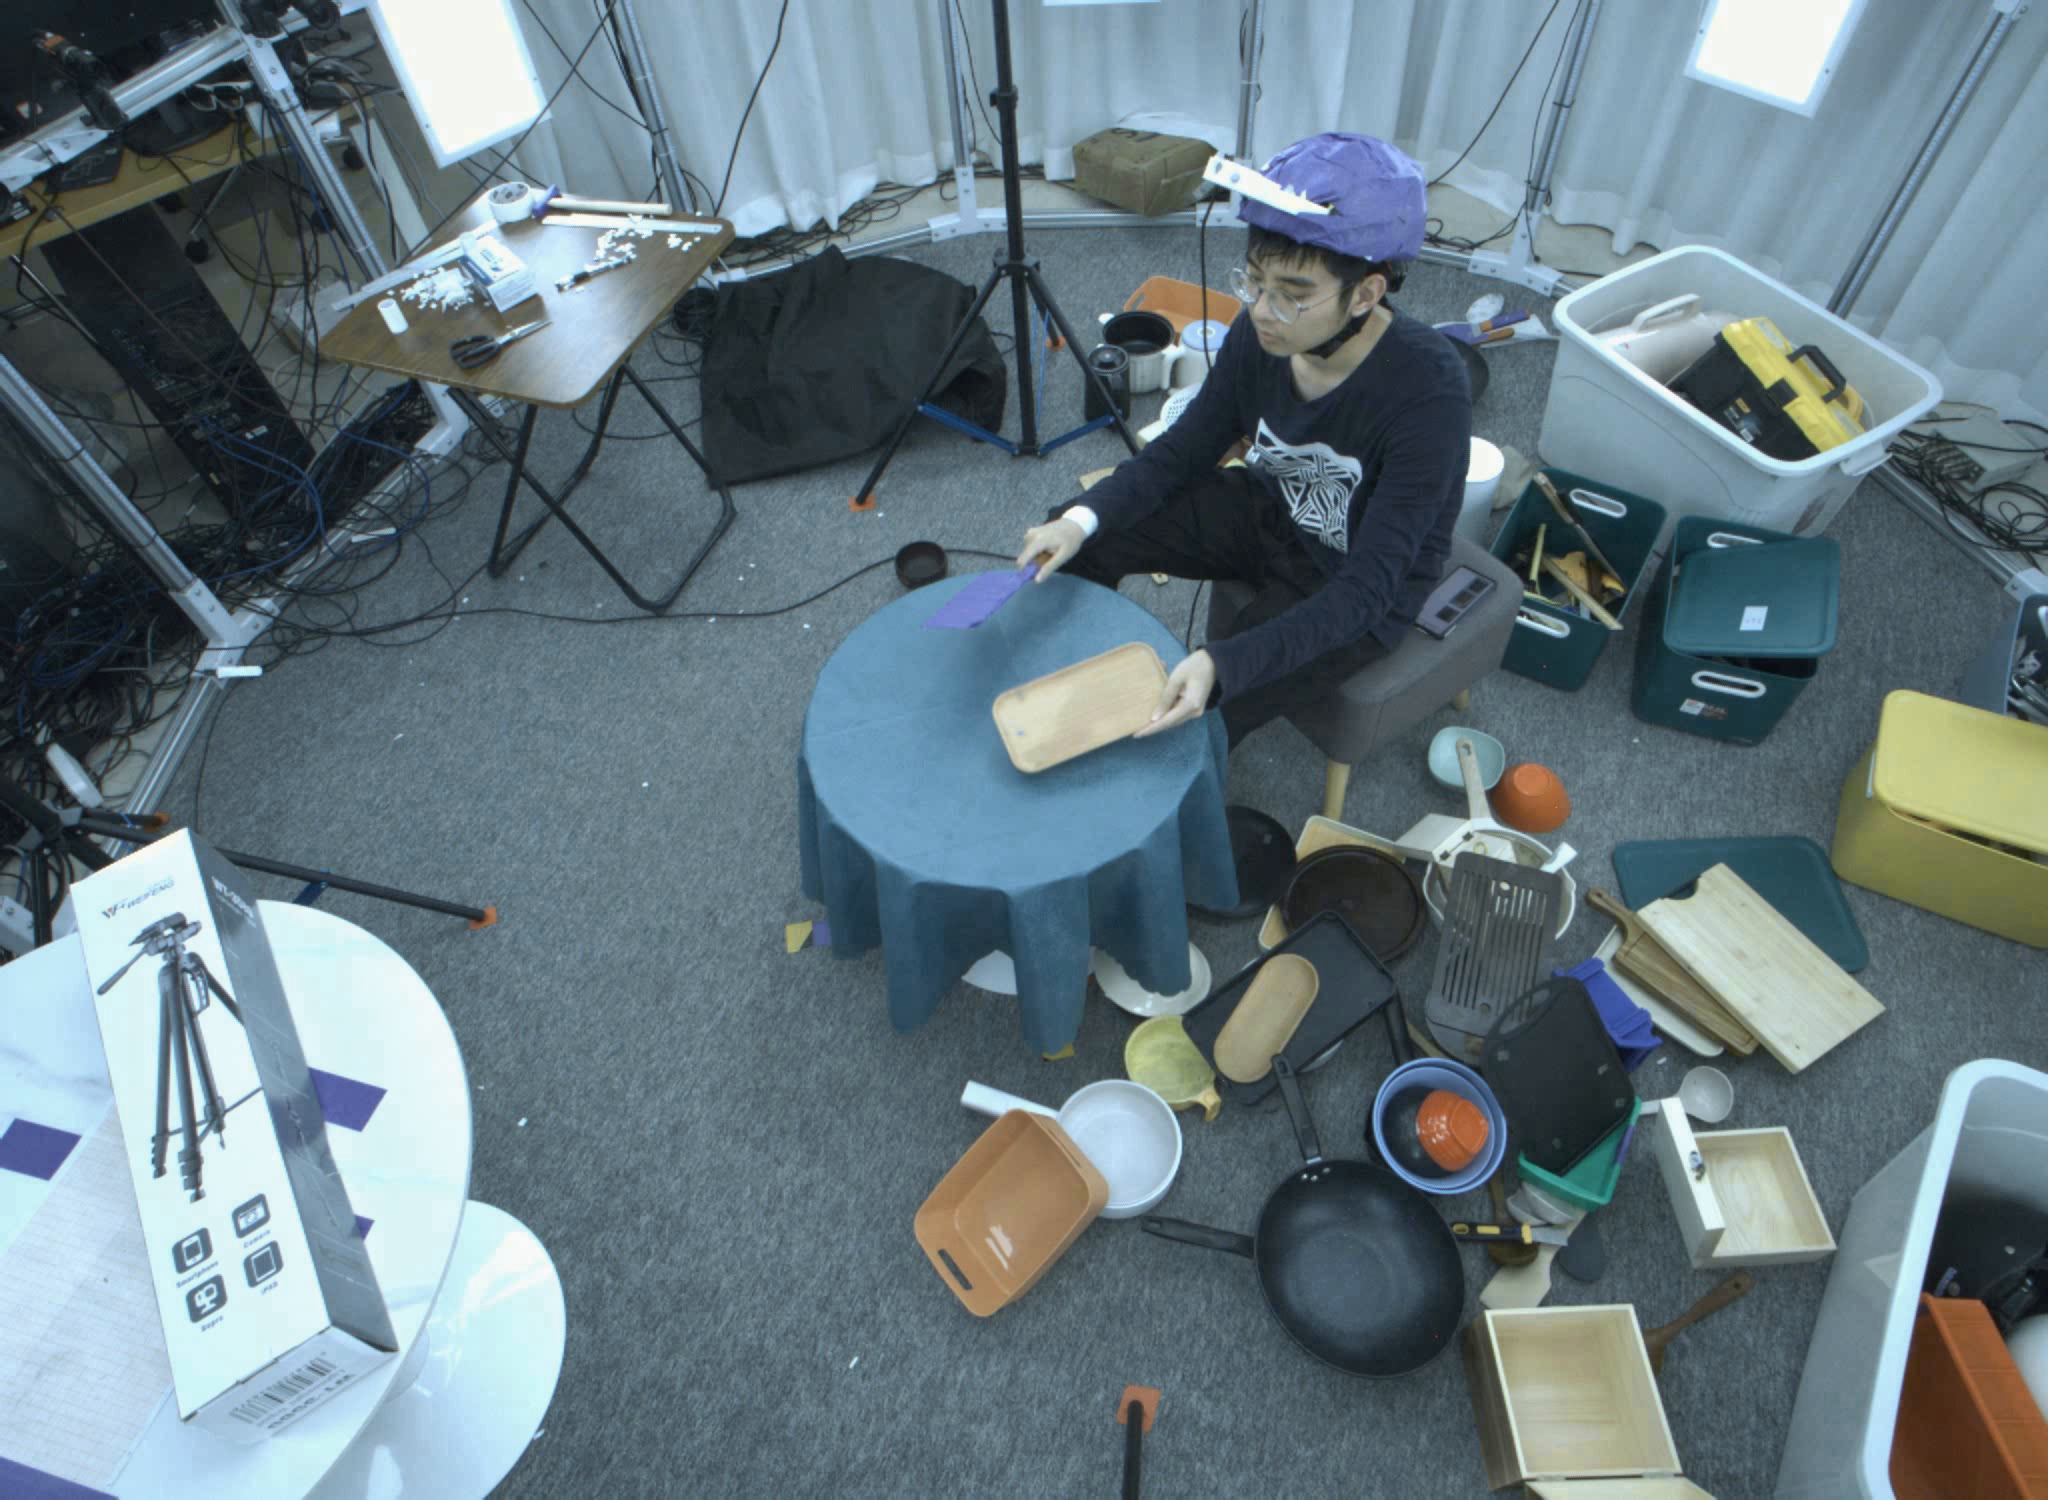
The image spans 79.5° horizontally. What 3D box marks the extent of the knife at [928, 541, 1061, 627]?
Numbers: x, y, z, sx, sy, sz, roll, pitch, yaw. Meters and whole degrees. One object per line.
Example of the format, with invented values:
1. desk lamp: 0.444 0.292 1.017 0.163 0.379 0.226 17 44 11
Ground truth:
1. knife: -0.043 -0.253 1.847 0.102 0.032 0.317 6 30 24

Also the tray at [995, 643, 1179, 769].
1. tray: 0.089 -0.063 1.758 0.251 0.023 0.130 -17 80 -6
